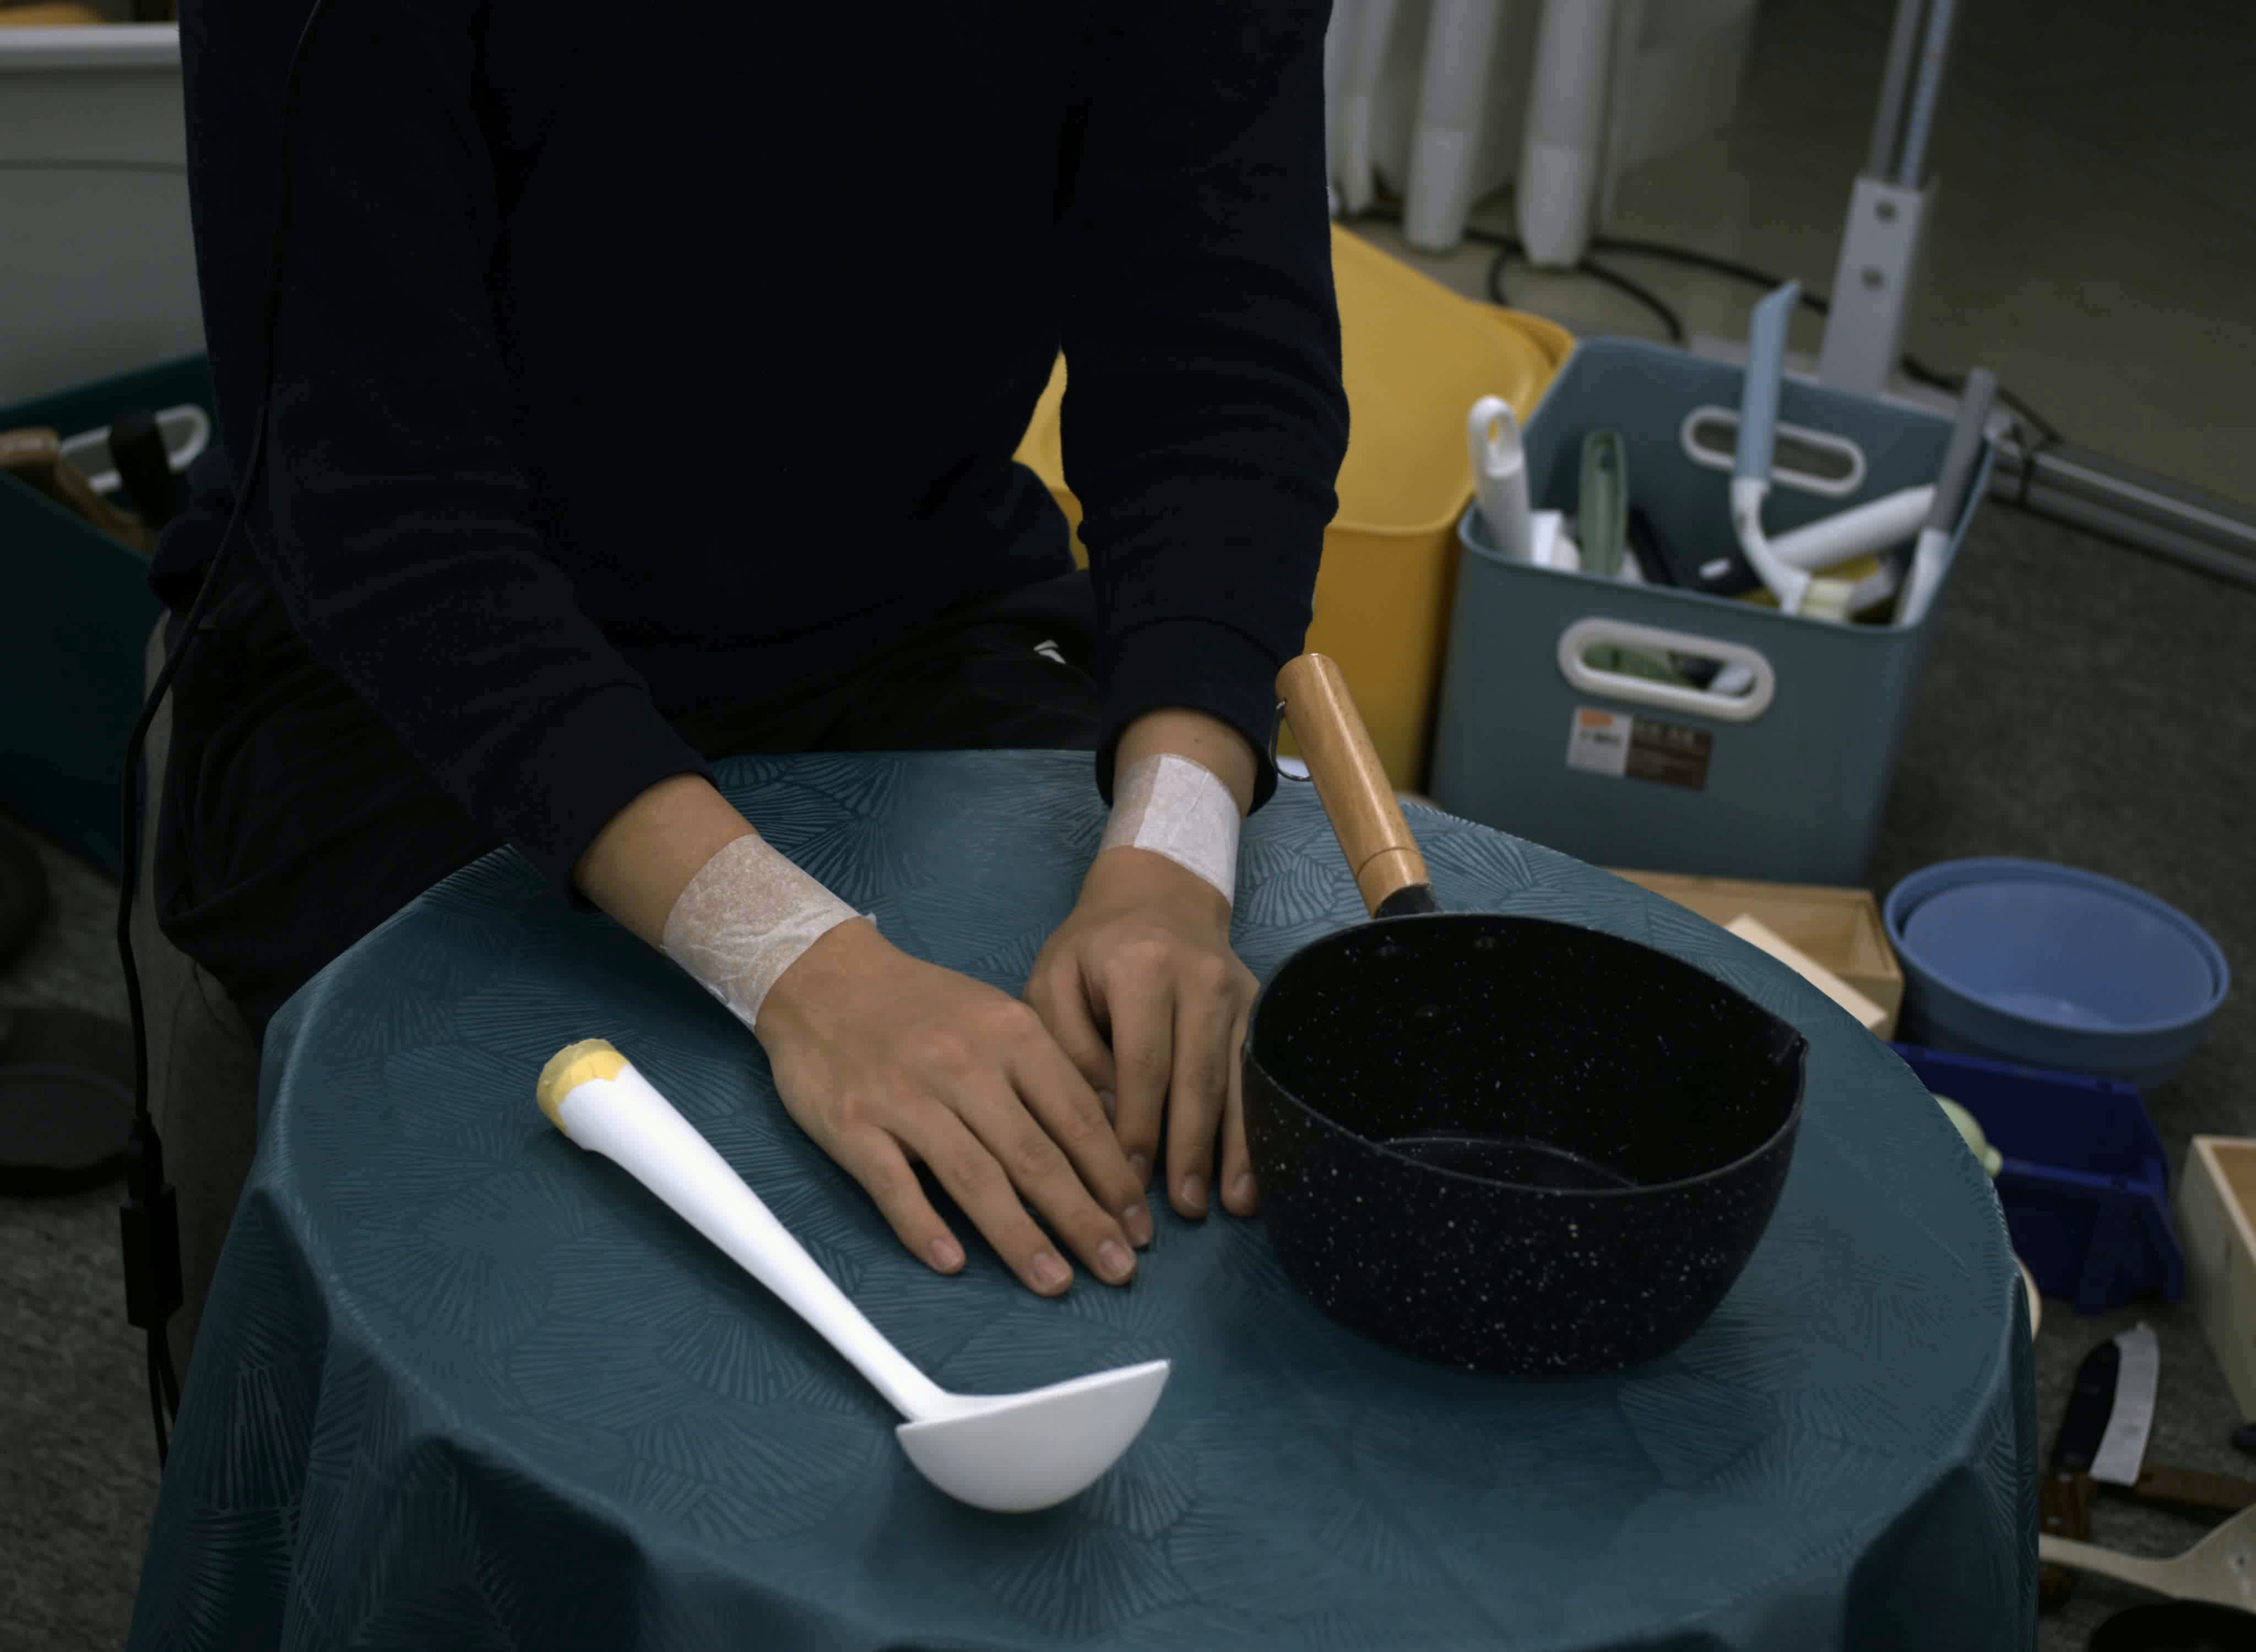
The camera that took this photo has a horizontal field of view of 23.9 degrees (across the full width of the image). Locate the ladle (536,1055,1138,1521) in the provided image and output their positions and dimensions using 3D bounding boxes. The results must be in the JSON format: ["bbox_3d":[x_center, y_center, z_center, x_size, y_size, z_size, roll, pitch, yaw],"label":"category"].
[{"bbox_3d":[-0.104,0.135,1.688,0.089,0.069,0.295,-17,34,-30],"label":"ladle"}]

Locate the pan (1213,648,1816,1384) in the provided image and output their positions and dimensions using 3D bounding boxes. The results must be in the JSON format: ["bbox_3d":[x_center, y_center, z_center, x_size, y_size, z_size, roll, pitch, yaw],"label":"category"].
[{"bbox_3d":[0.105,0.062,1.829,0.206,0.108,0.346,-4,30,-17],"label":"pan"}]
